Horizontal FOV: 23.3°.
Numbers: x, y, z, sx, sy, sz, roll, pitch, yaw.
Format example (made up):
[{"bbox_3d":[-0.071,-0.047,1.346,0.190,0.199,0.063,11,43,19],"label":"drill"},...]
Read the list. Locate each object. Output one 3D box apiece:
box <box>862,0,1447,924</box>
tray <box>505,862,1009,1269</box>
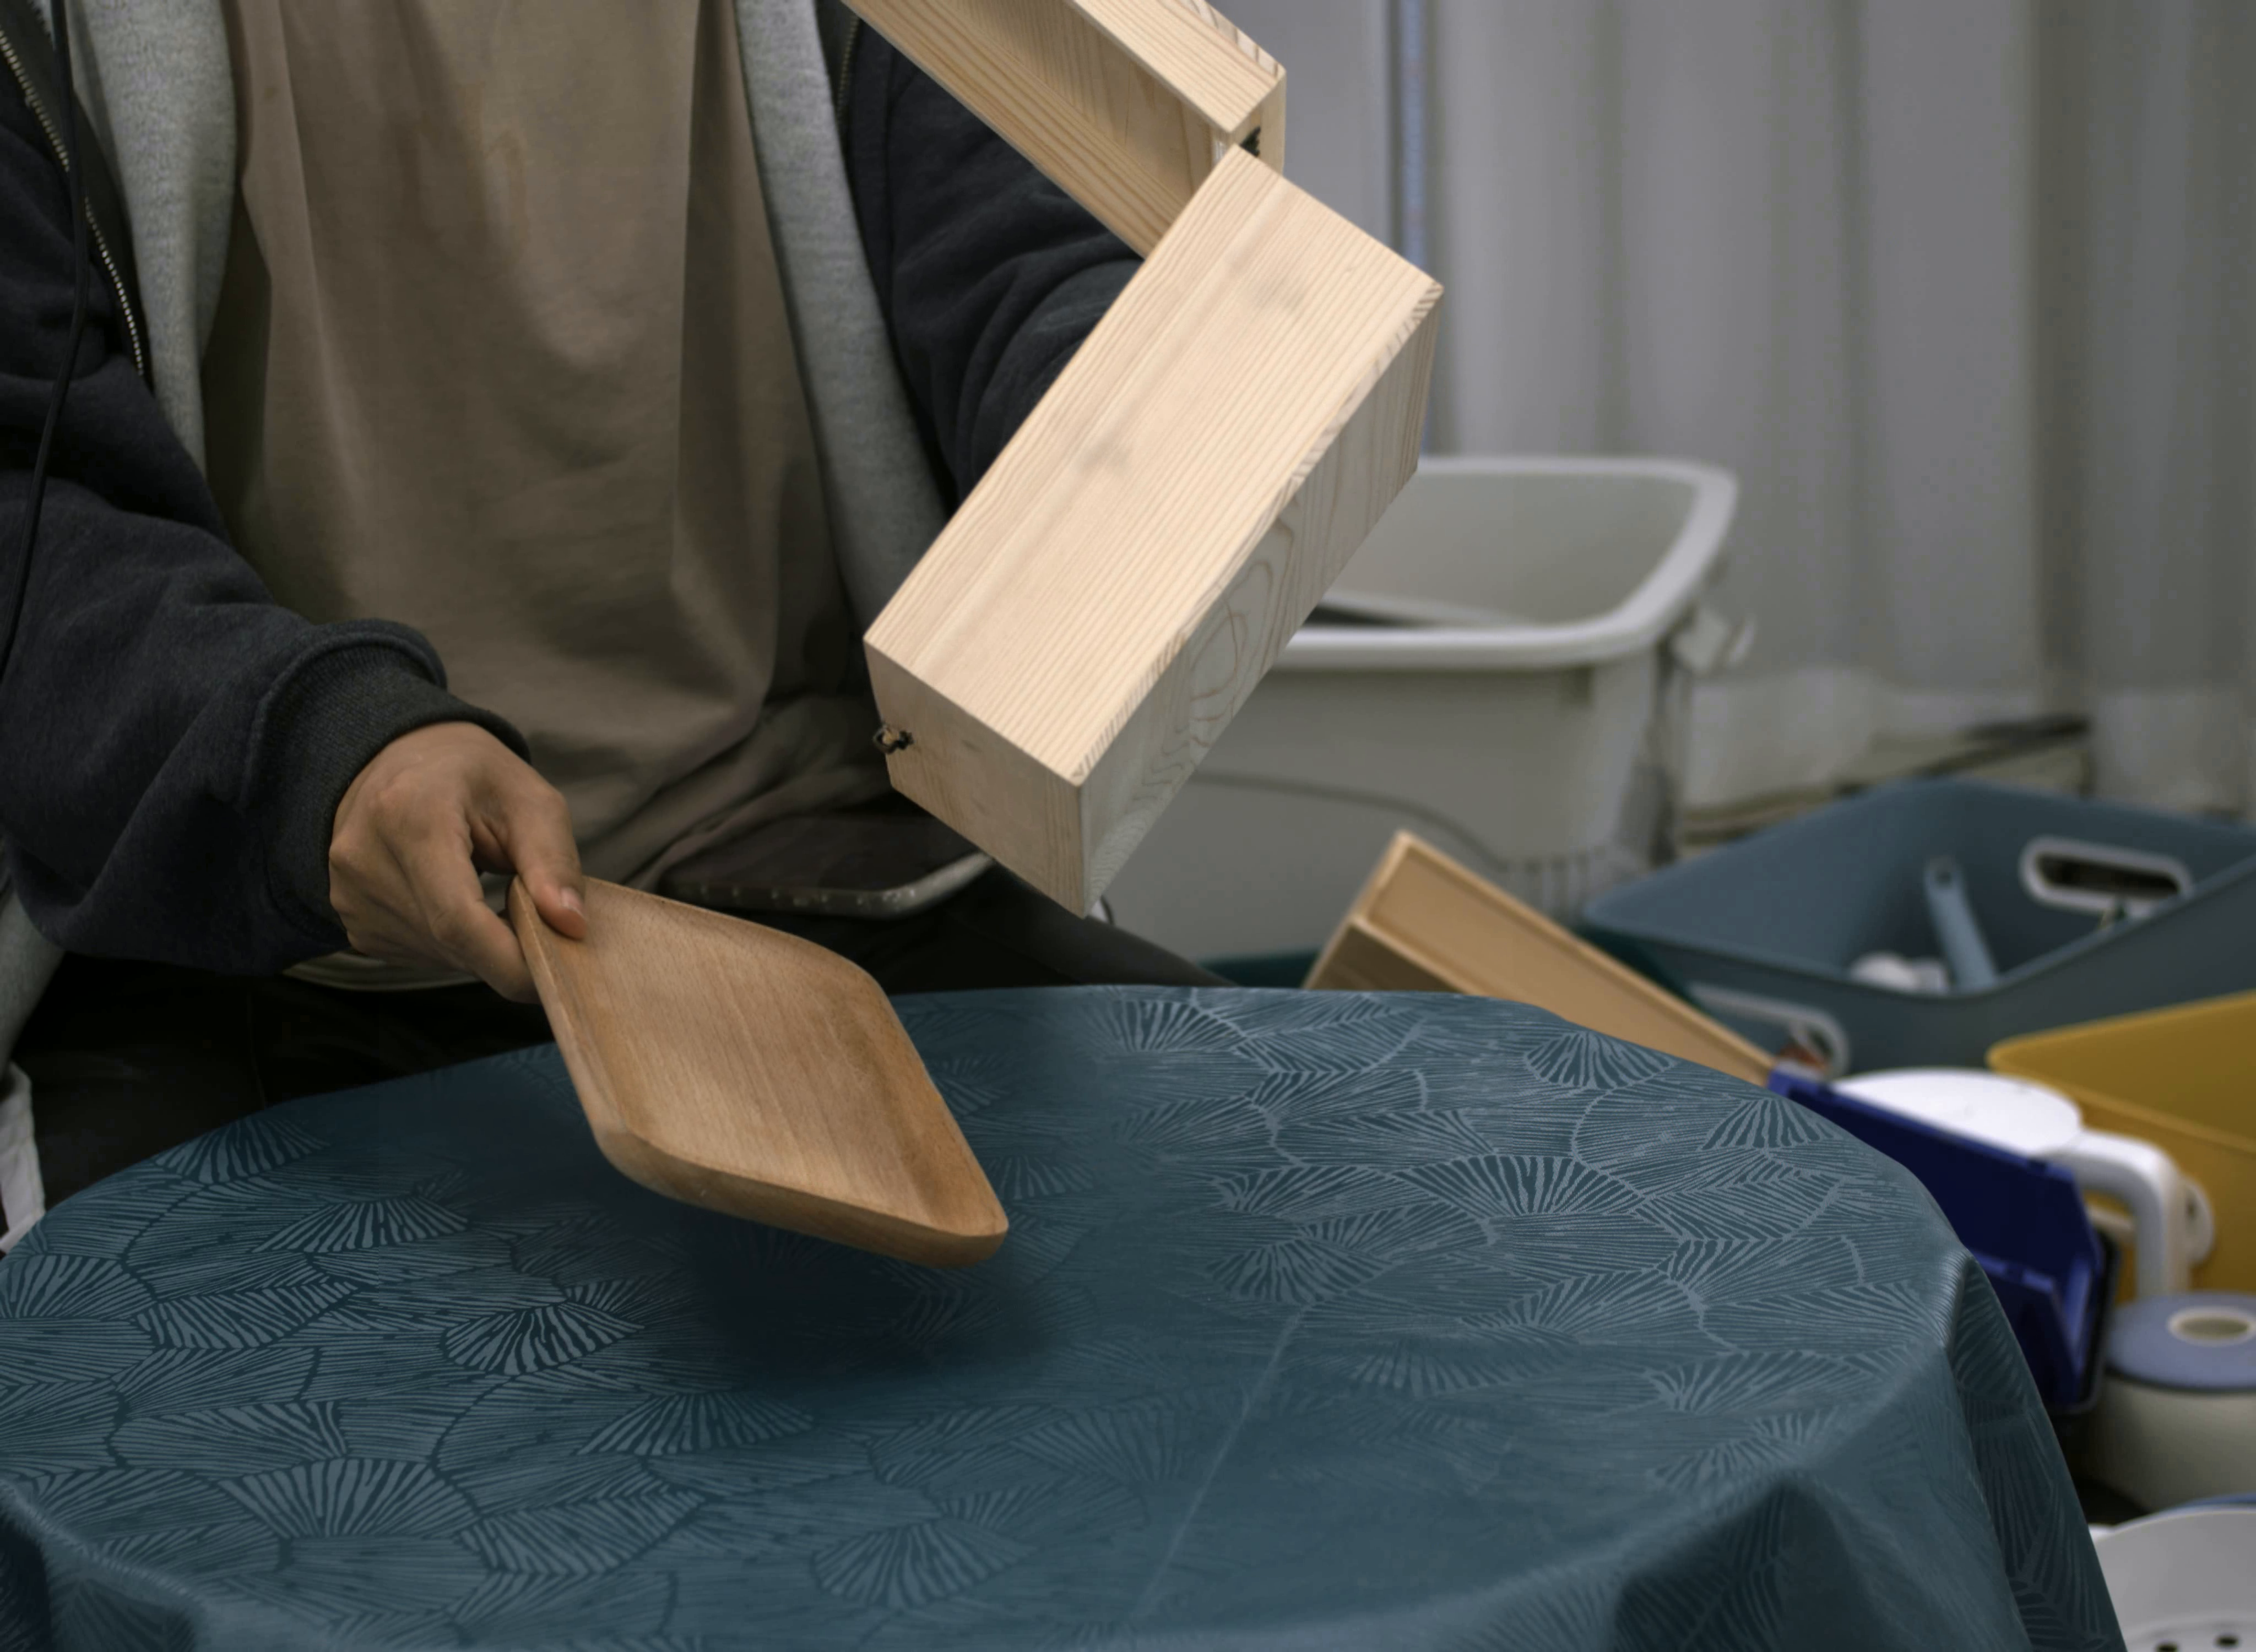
[{"bbox_3d":[-0.038,-0.159,1.650,0.254,0.266,0.180,36,-12,11],"label":"box"},{"bbox_3d":[-0.117,0.070,1.658,0.129,0.023,0.253,20,12,-18],"label":"tray"}]
